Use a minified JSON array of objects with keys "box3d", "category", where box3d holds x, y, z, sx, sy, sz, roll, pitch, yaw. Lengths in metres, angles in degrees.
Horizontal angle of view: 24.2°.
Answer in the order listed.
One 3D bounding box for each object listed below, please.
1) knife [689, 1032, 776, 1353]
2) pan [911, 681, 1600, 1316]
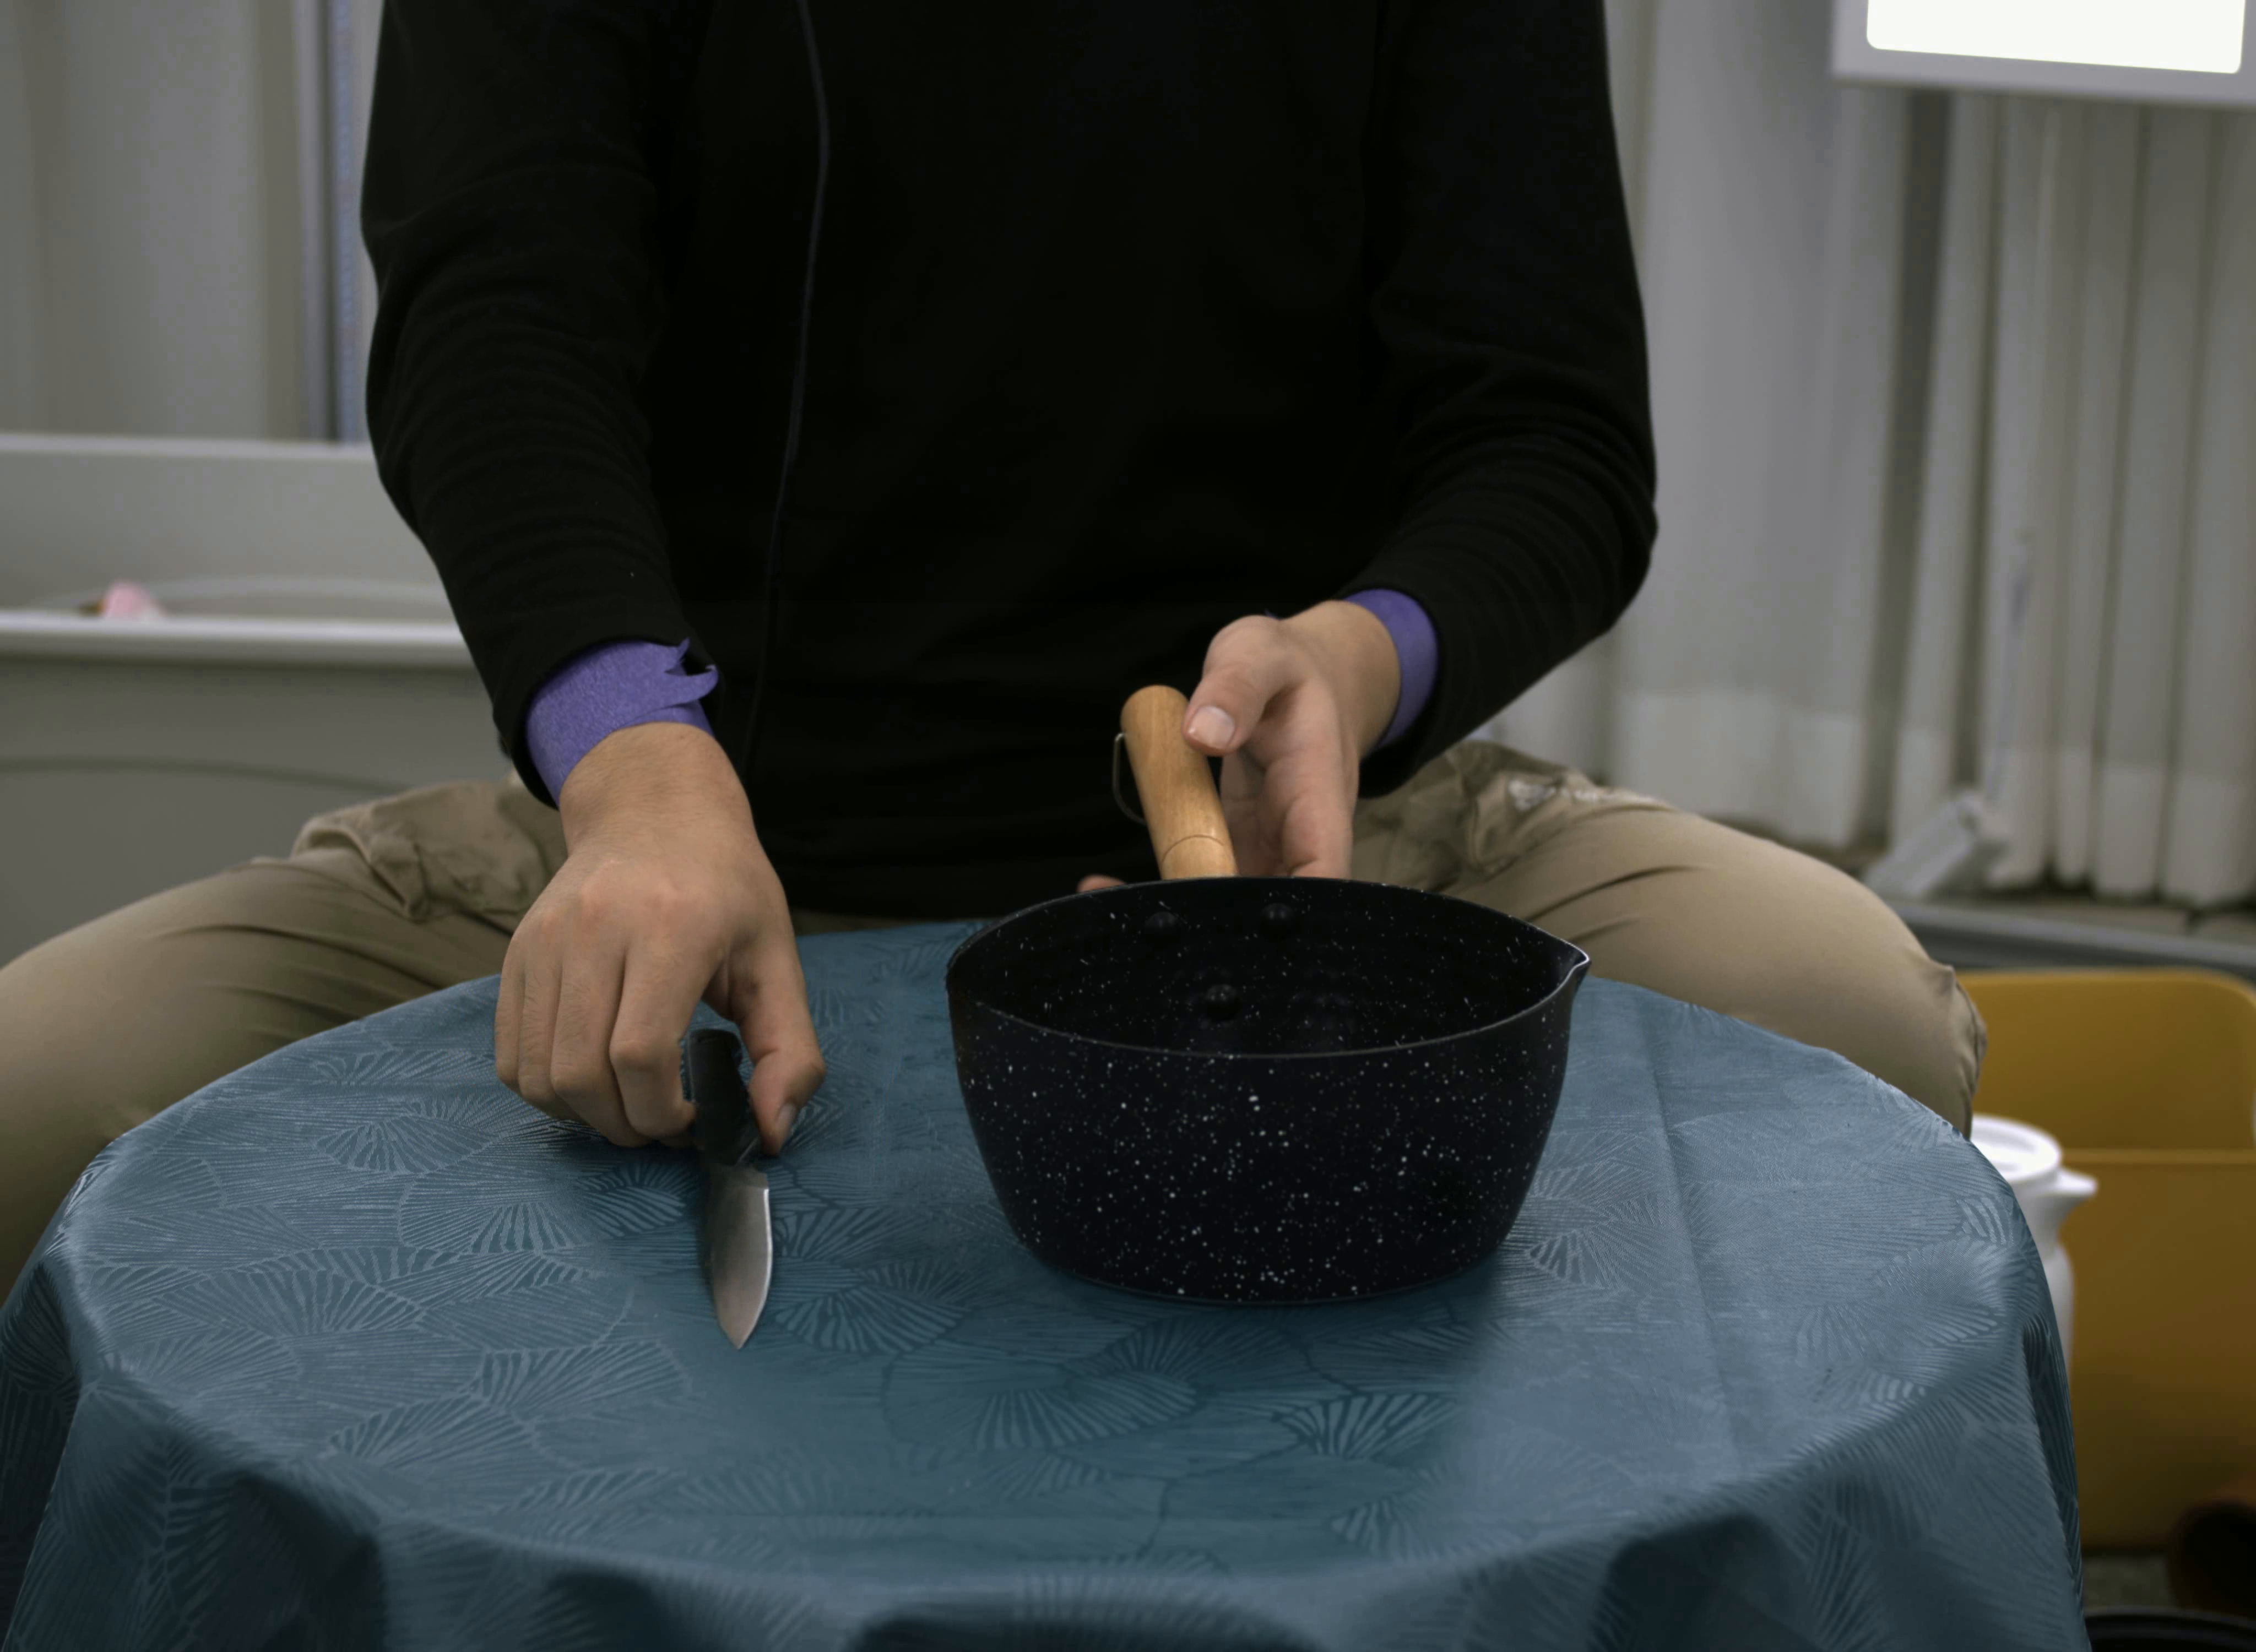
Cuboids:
[{"box3d":[-0.121,0.111,1.600,0.024,0.016,0.236,-4,19,-5],"category":"knife"},{"box3d":[0.029,0.049,1.654,0.207,0.109,0.340,-2,17,-8],"category":"pan"}]
